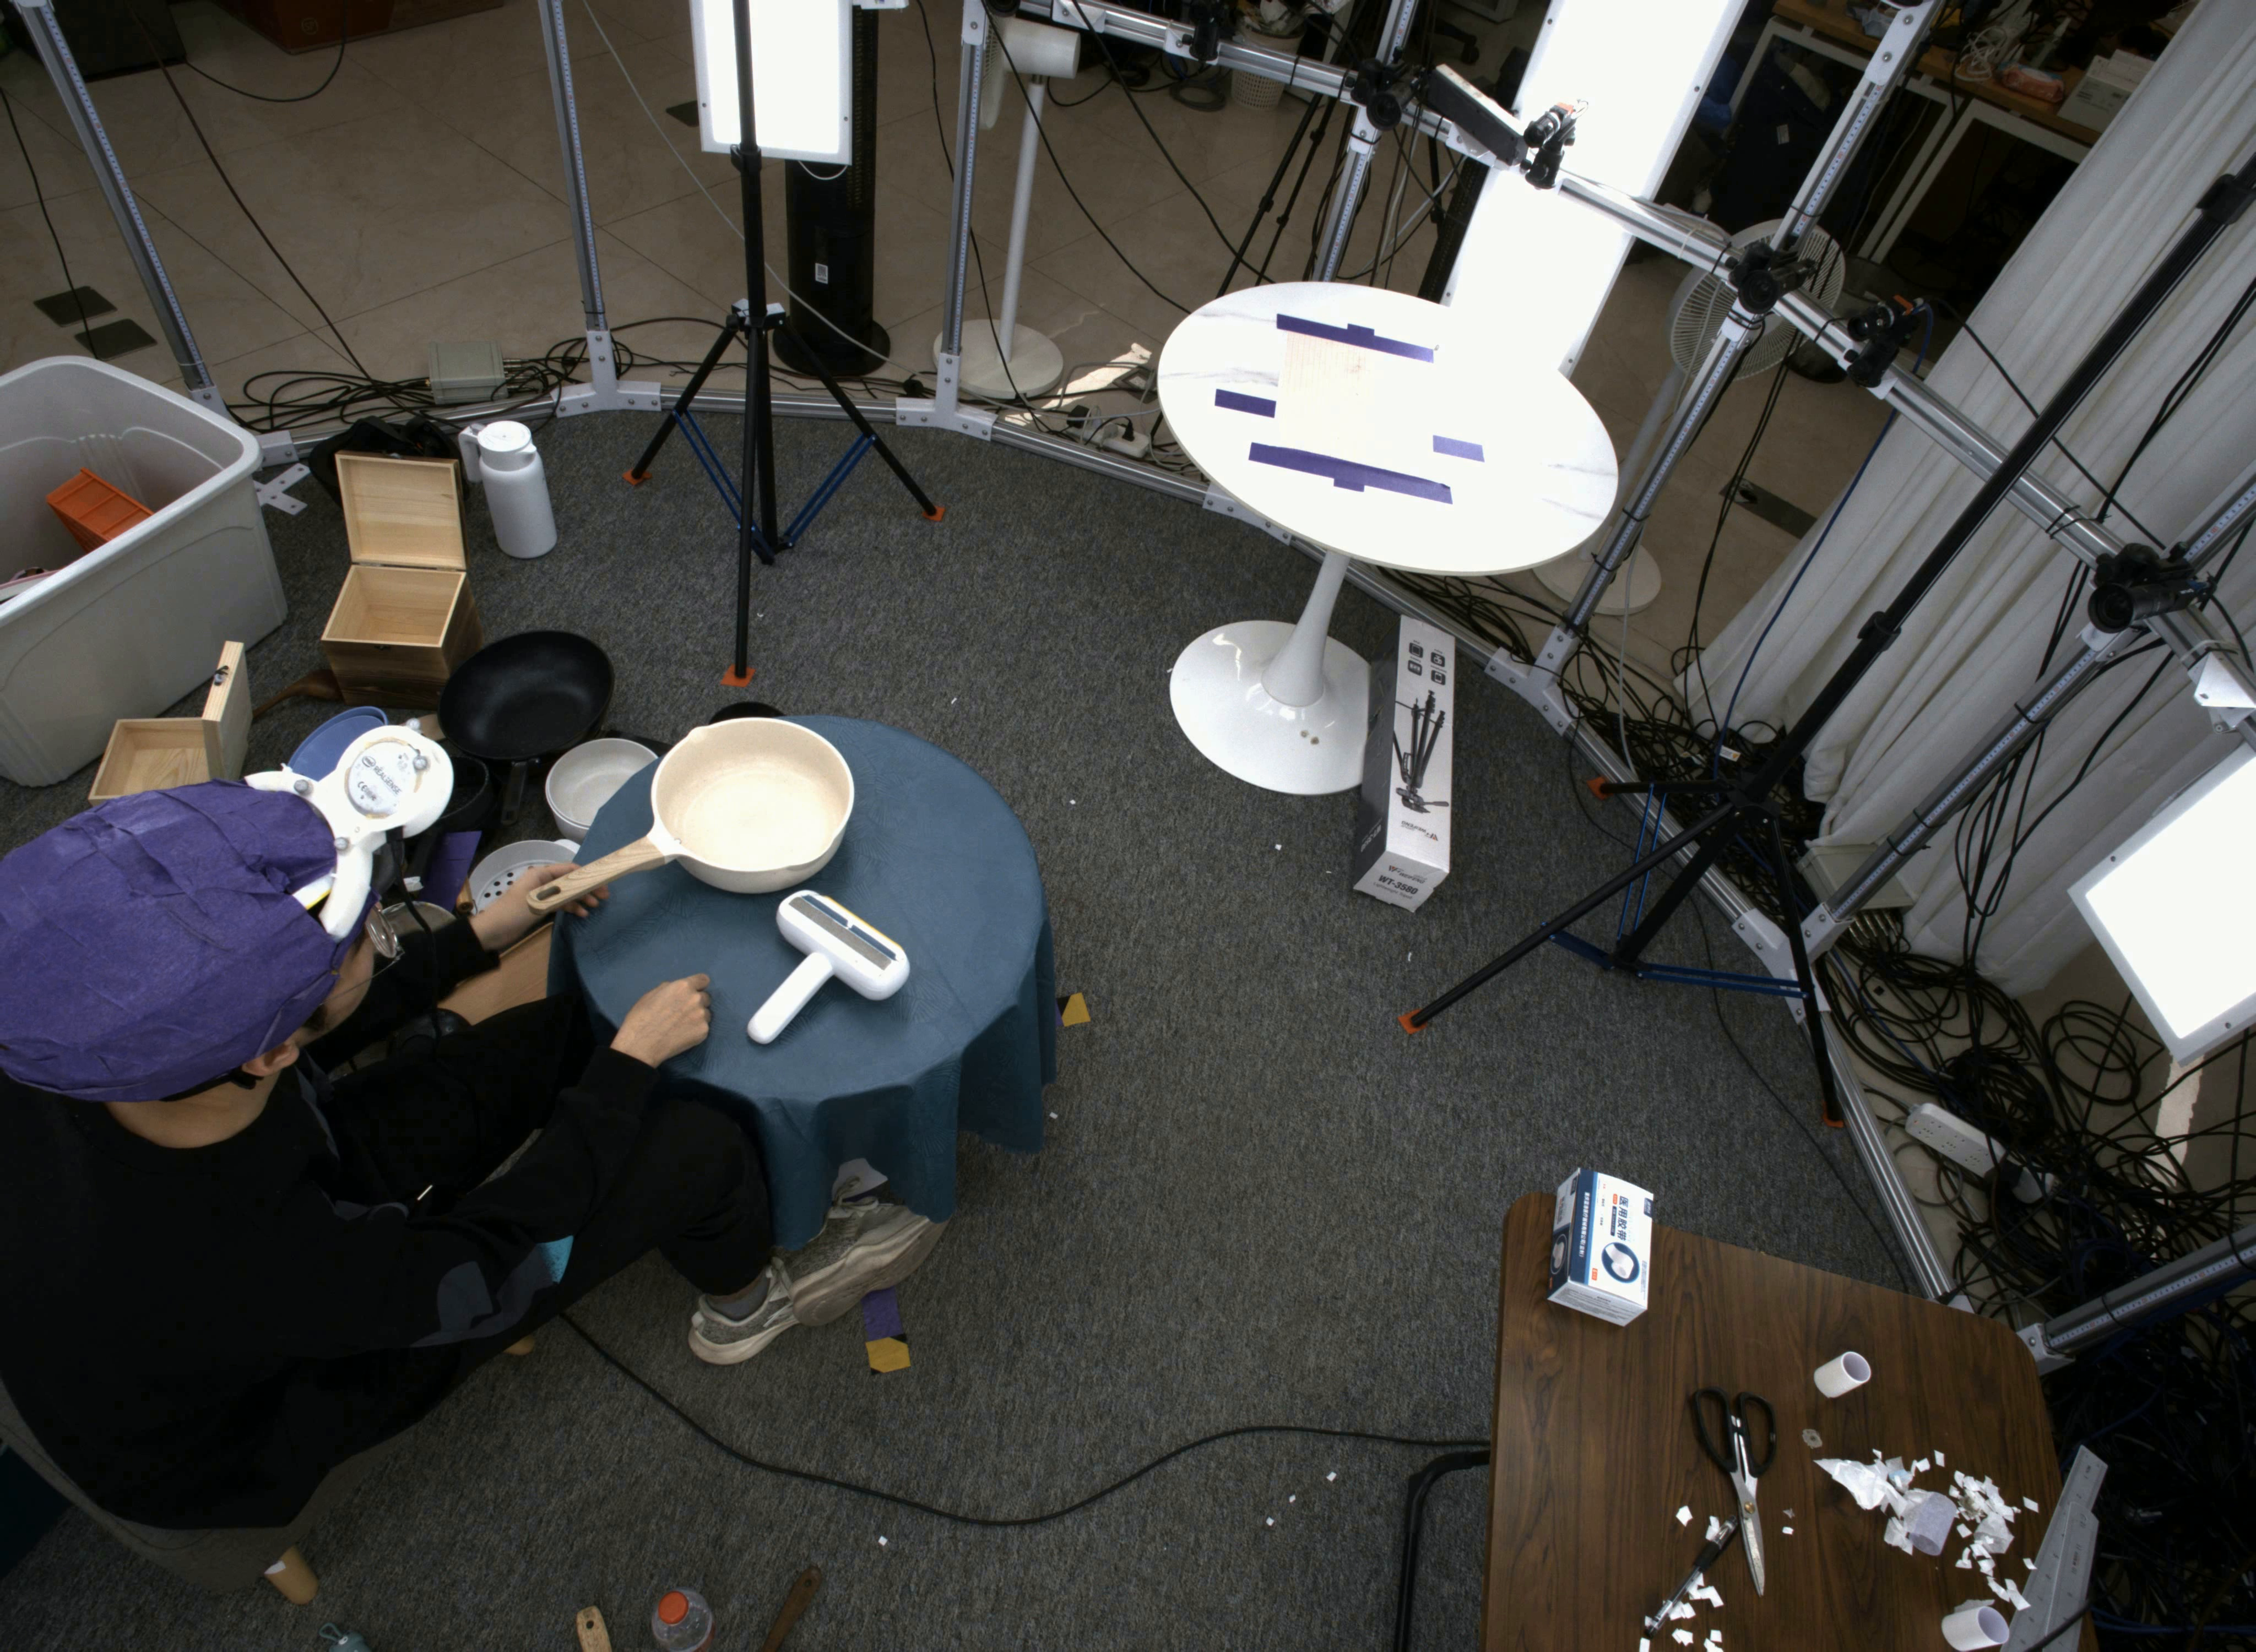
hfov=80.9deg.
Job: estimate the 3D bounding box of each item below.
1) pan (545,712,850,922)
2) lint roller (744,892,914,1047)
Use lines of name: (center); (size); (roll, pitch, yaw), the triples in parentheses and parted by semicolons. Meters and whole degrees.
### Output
pan: (-0.549, 0.015, 1.621); (0.258, 0.103, 0.436); (44, 55, 15)
lint roller: (-0.382, 0.183, 1.562); (0.188, 0.076, 0.192); (36, 55, 20)
